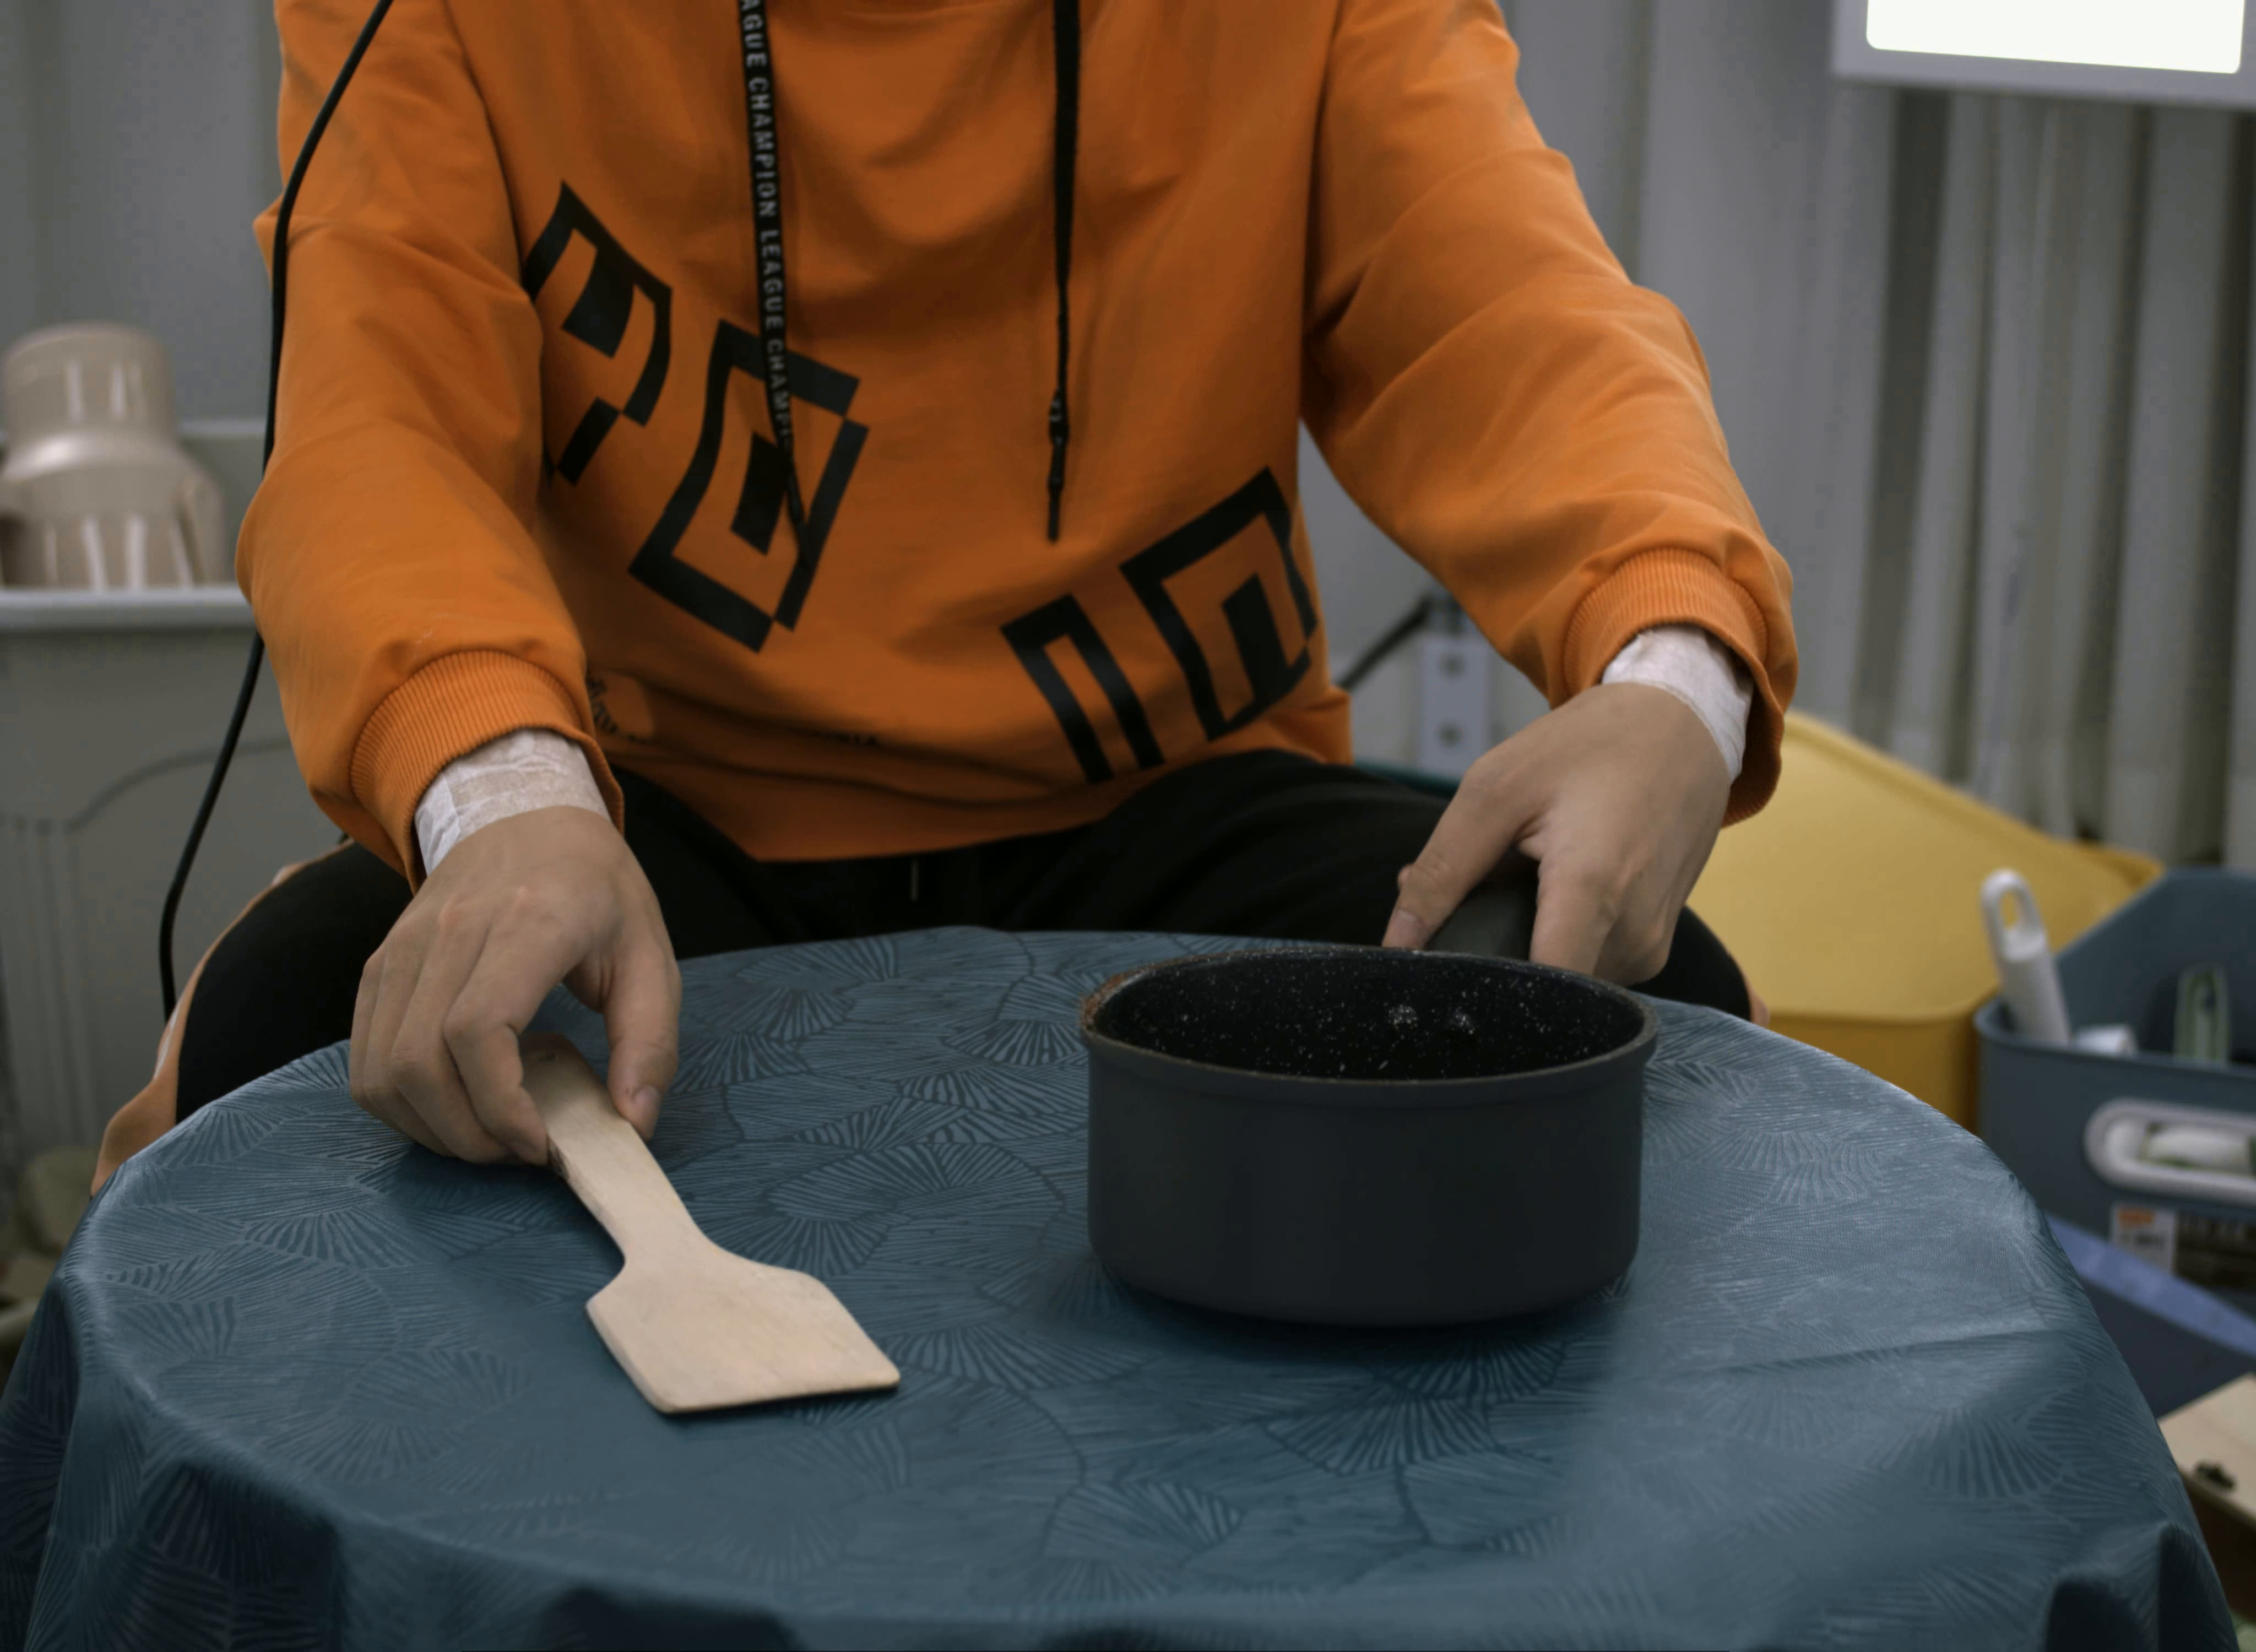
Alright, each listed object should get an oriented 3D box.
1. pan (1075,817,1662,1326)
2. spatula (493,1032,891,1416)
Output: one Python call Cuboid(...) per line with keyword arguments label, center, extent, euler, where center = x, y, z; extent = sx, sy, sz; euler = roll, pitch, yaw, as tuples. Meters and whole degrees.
Cuboid(label="pan", center=(0.097, 0.071, 1.619), extent=(0.170, 0.087, 0.329), euler=(6, 14, 20))
Cuboid(label="spatula", center=(-0.146, 0.115, 1.575), extent=(0.072, 0.011, 0.289), euler=(-8, 21, -19))
